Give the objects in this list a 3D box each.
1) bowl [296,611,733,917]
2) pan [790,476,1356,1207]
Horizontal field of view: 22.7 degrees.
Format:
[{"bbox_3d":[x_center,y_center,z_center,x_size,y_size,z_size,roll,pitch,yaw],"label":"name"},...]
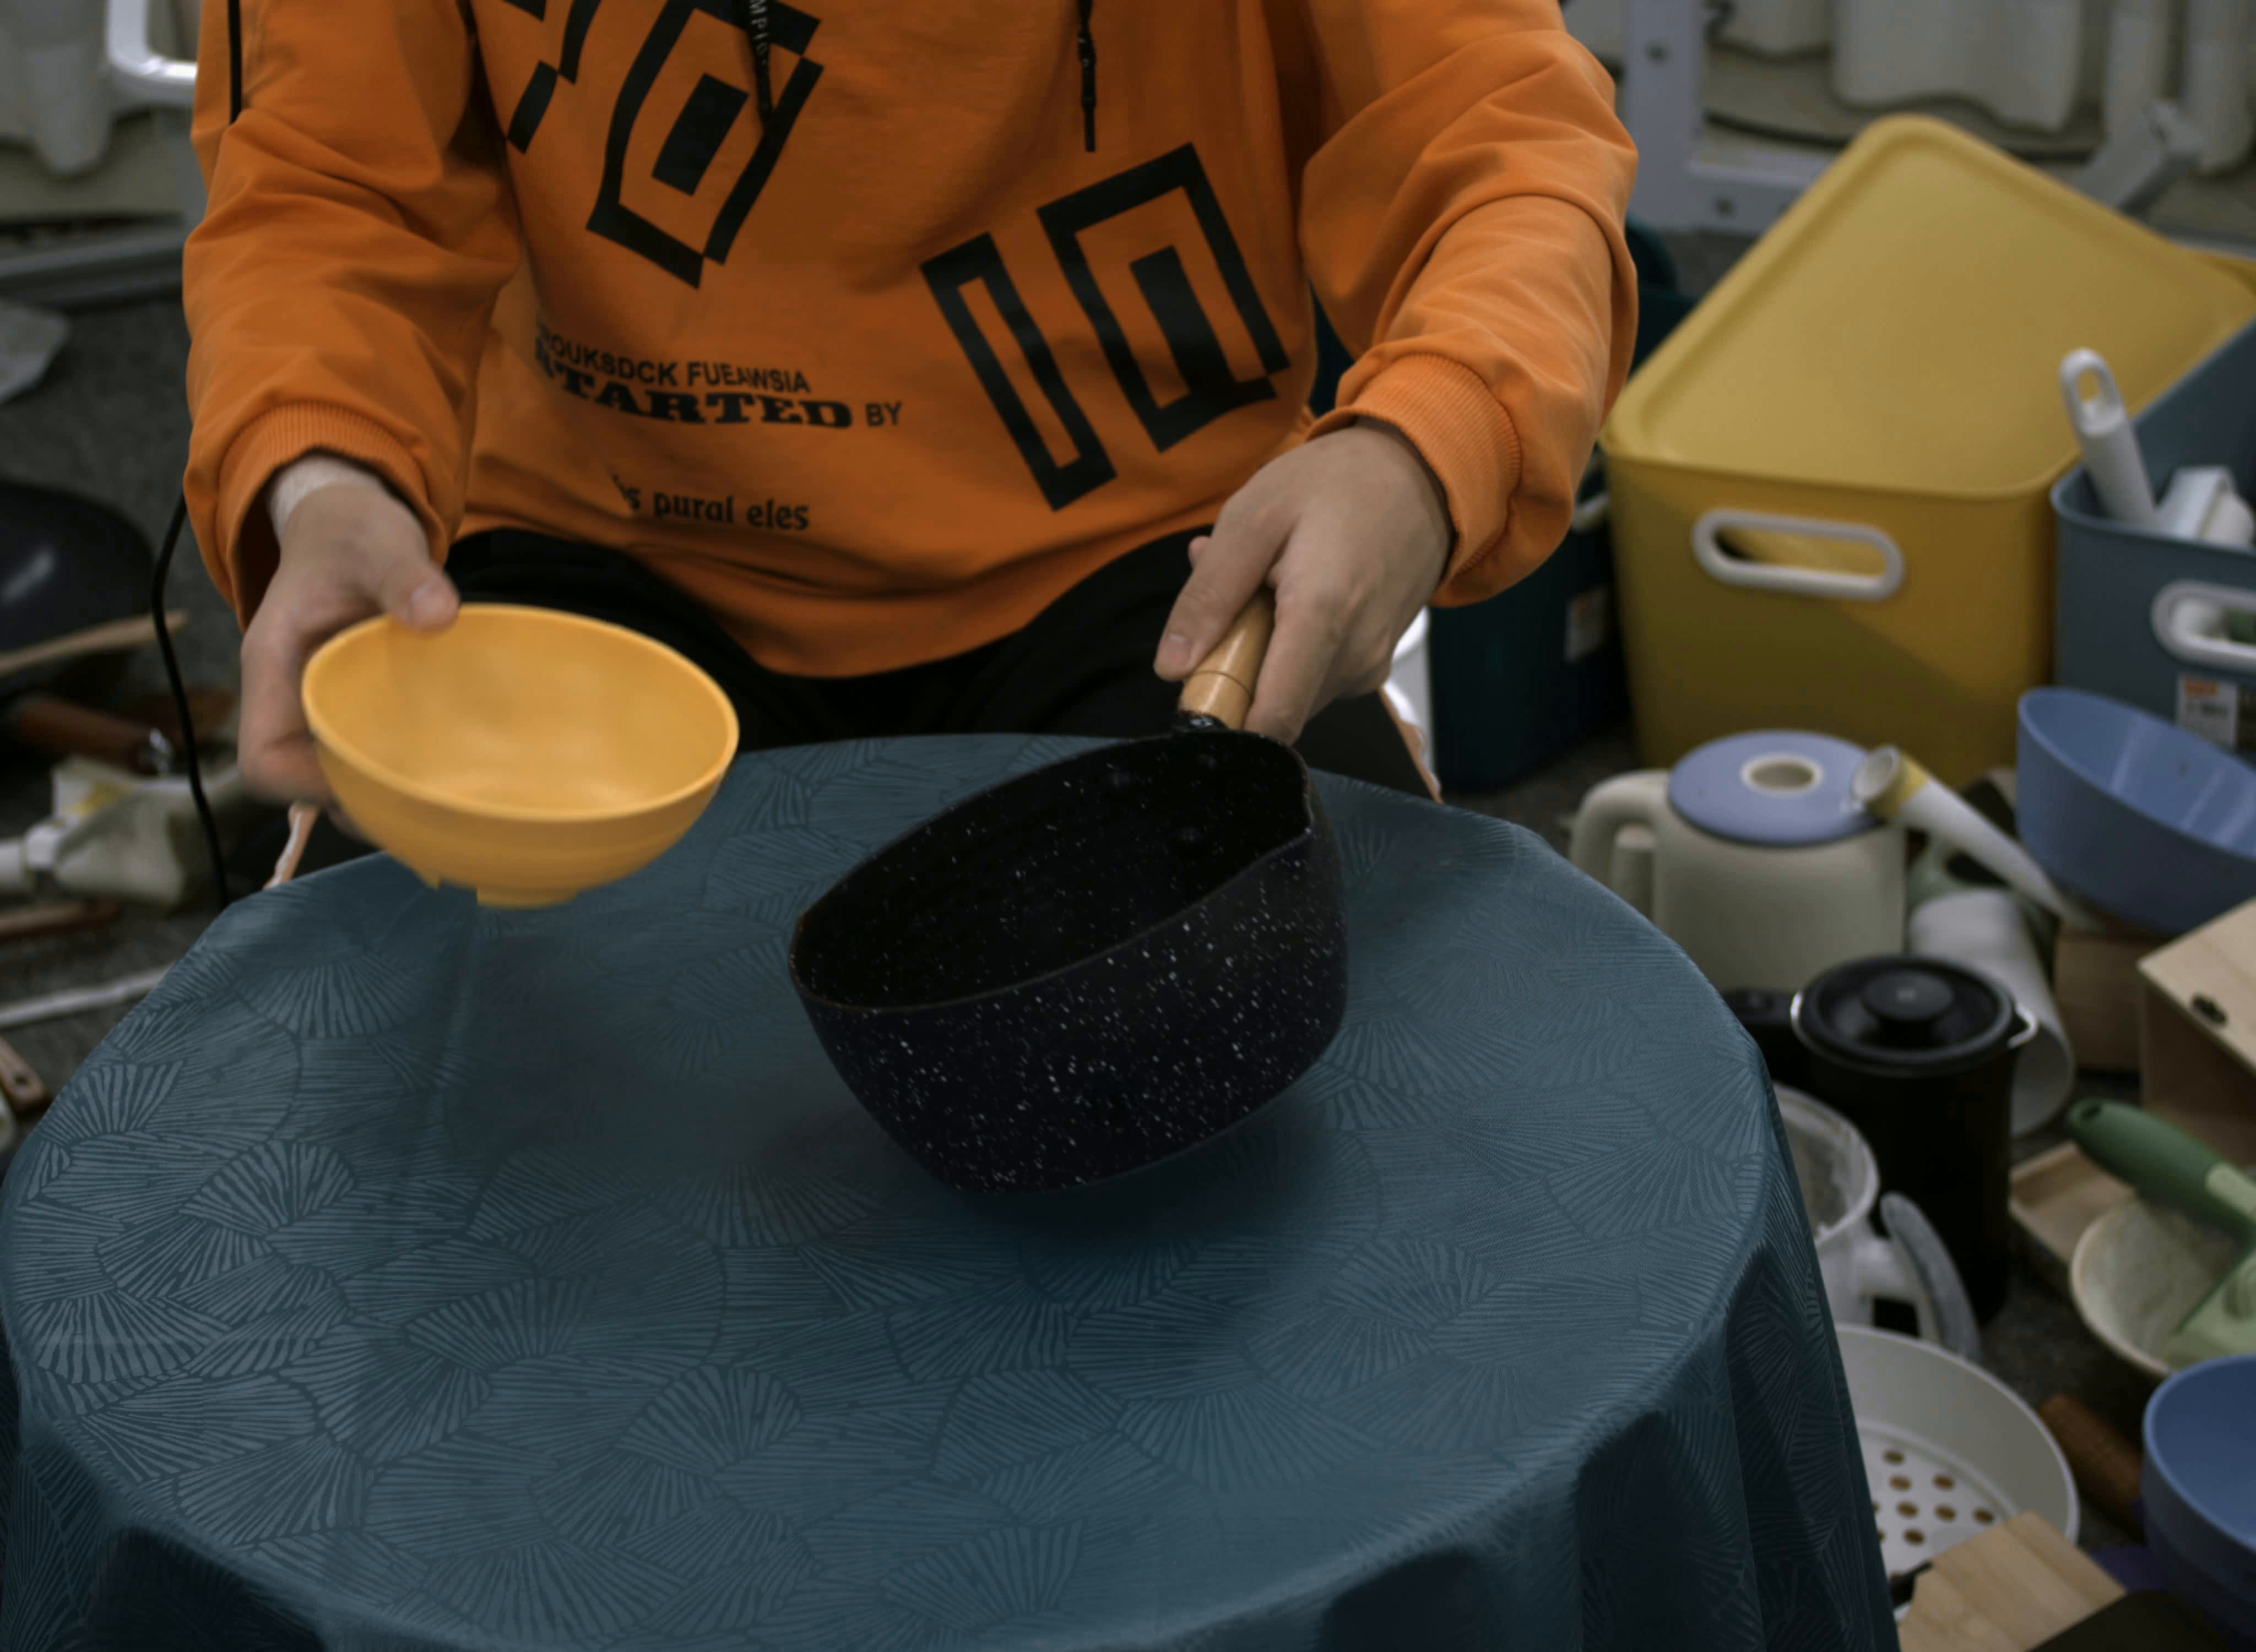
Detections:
[{"bbox_3d":[-0.206,-0.011,1.869,0.145,0.059,0.147,8,28,-4],"label":"bowl"},{"bbox_3d":[0.015,0.002,1.923,0.205,0.107,0.349,-11,24,29],"label":"pan"}]
